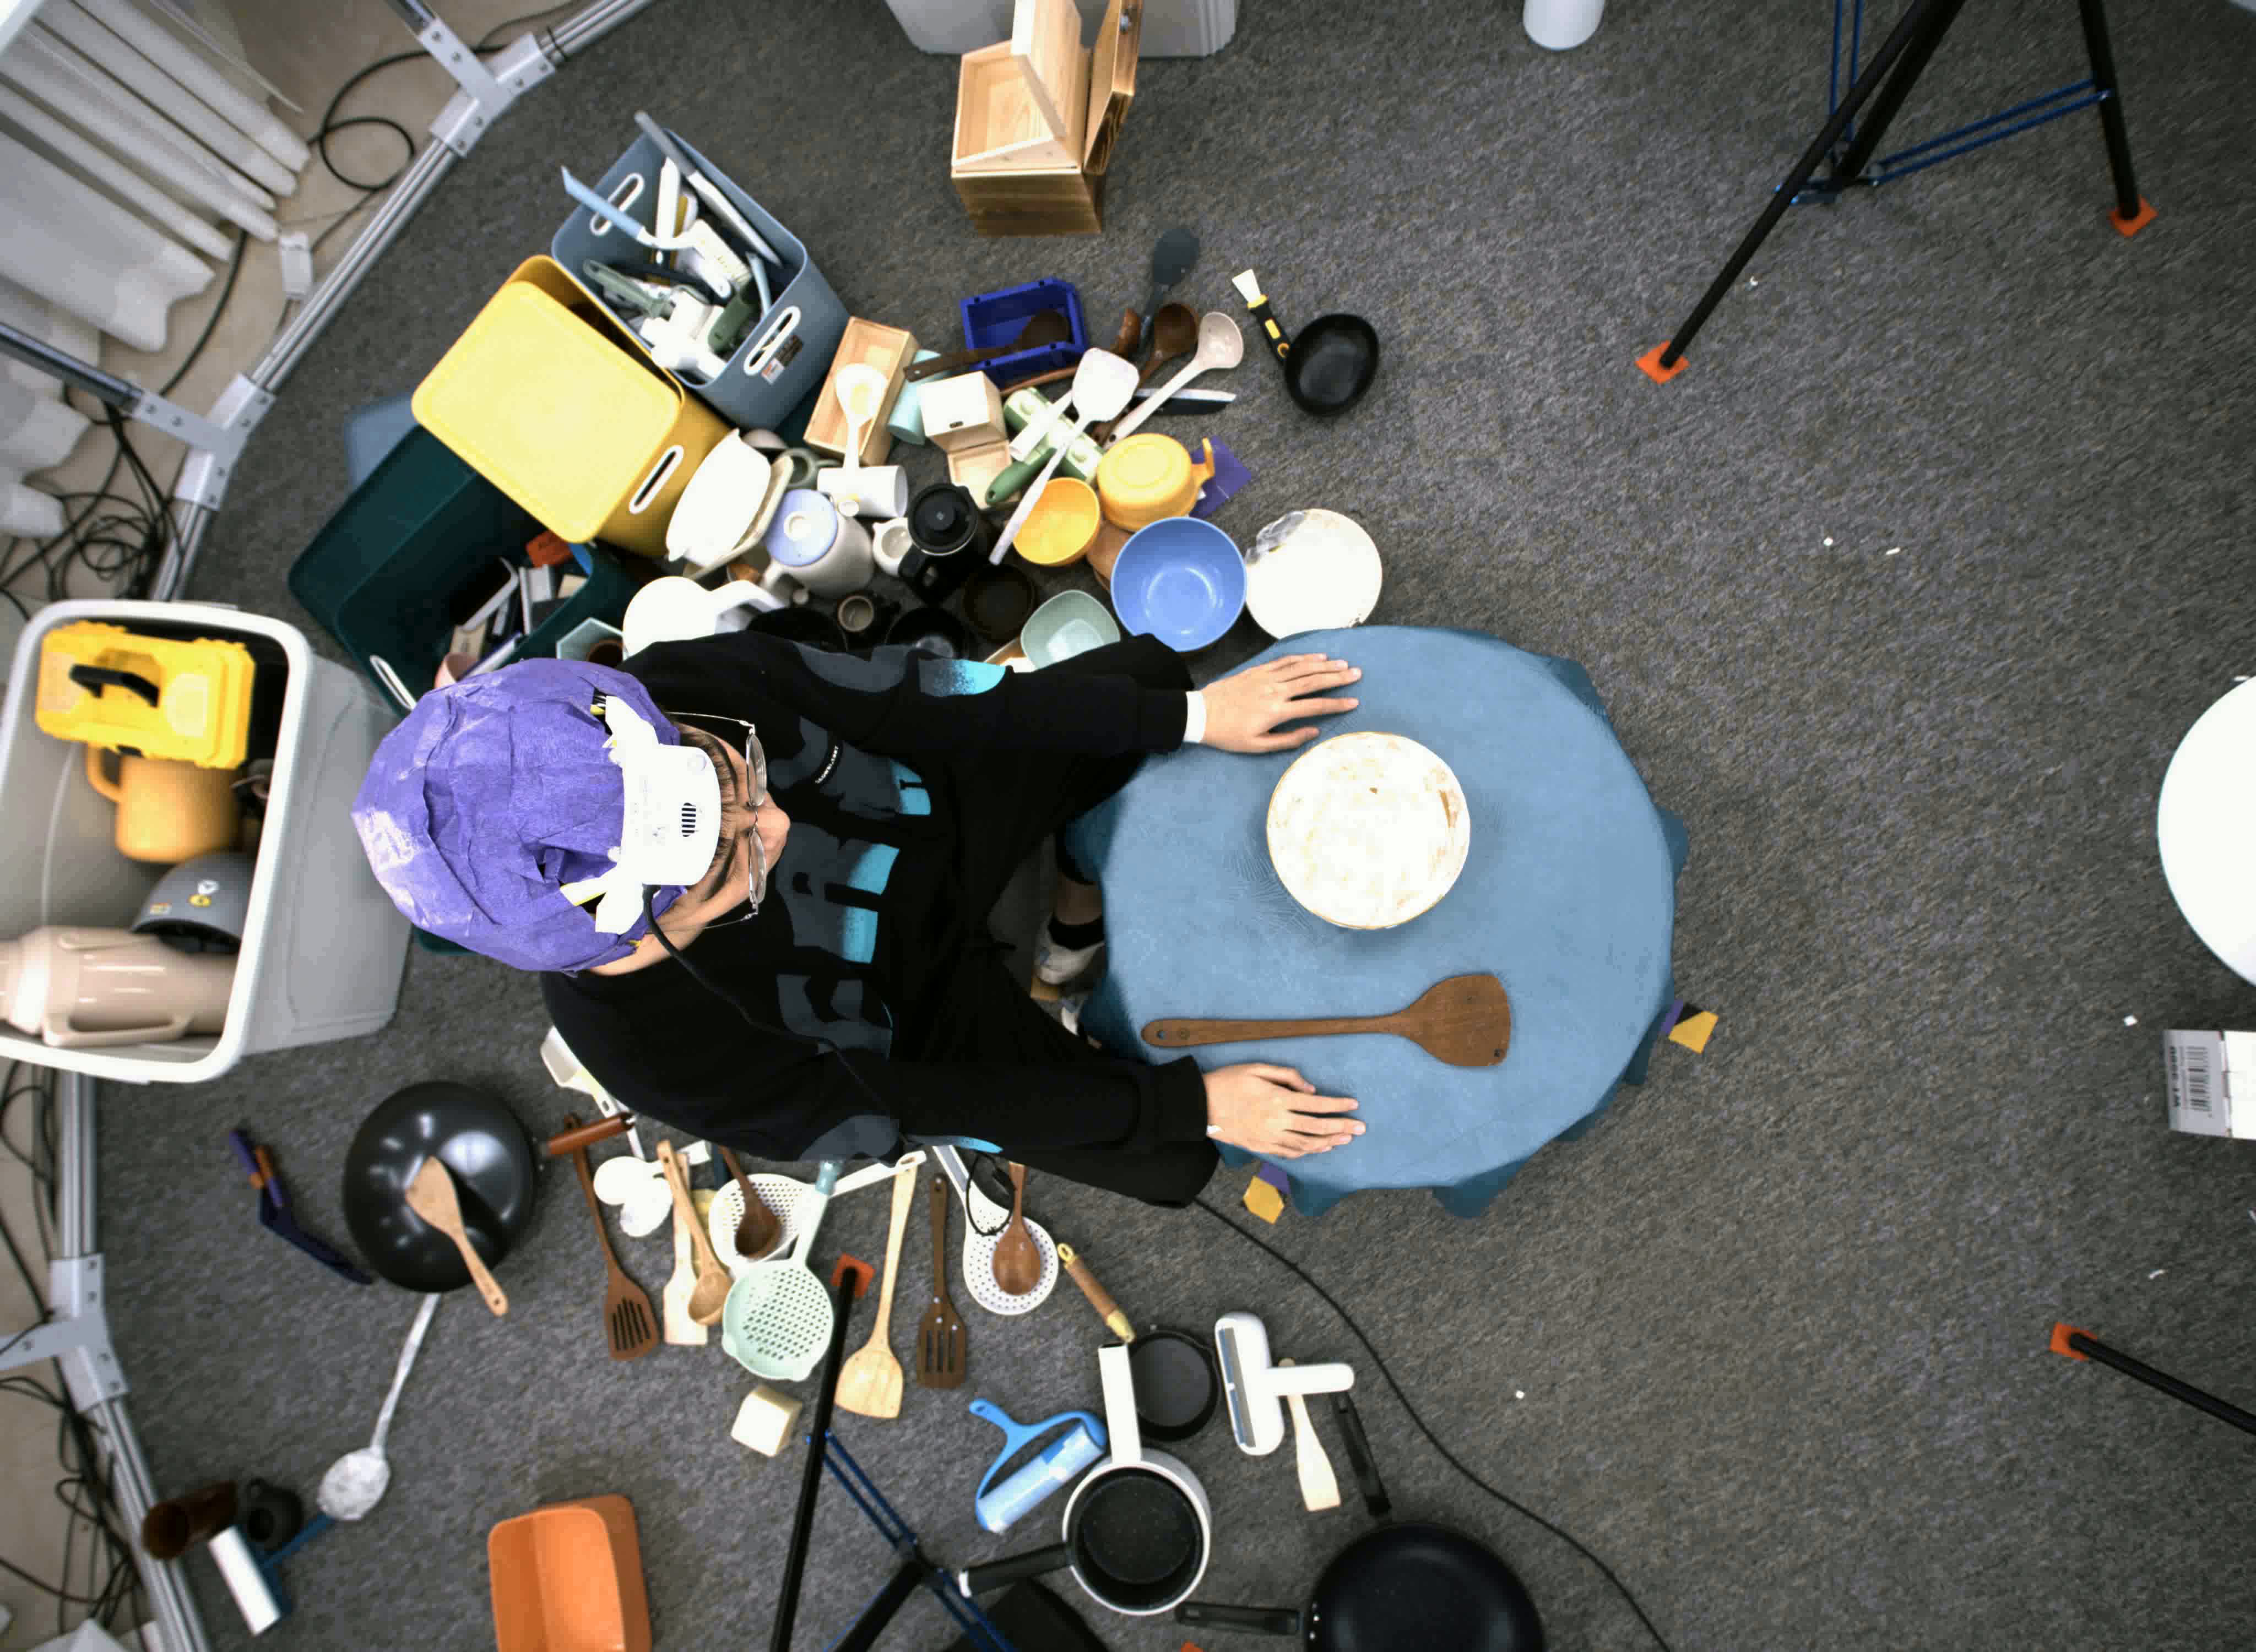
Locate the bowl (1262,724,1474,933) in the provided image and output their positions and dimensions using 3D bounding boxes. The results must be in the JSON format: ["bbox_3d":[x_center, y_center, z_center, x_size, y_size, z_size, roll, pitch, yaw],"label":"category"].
[{"bbox_3d":[0.248,0.007,1.426,0.215,0.094,0.214,-1,87,11],"label":"bowl"}]

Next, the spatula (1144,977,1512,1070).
[{"bbox_3d":[0.206,0.214,1.460,0.388,0.016,0.095,-4,85,10],"label":"spatula"}]
